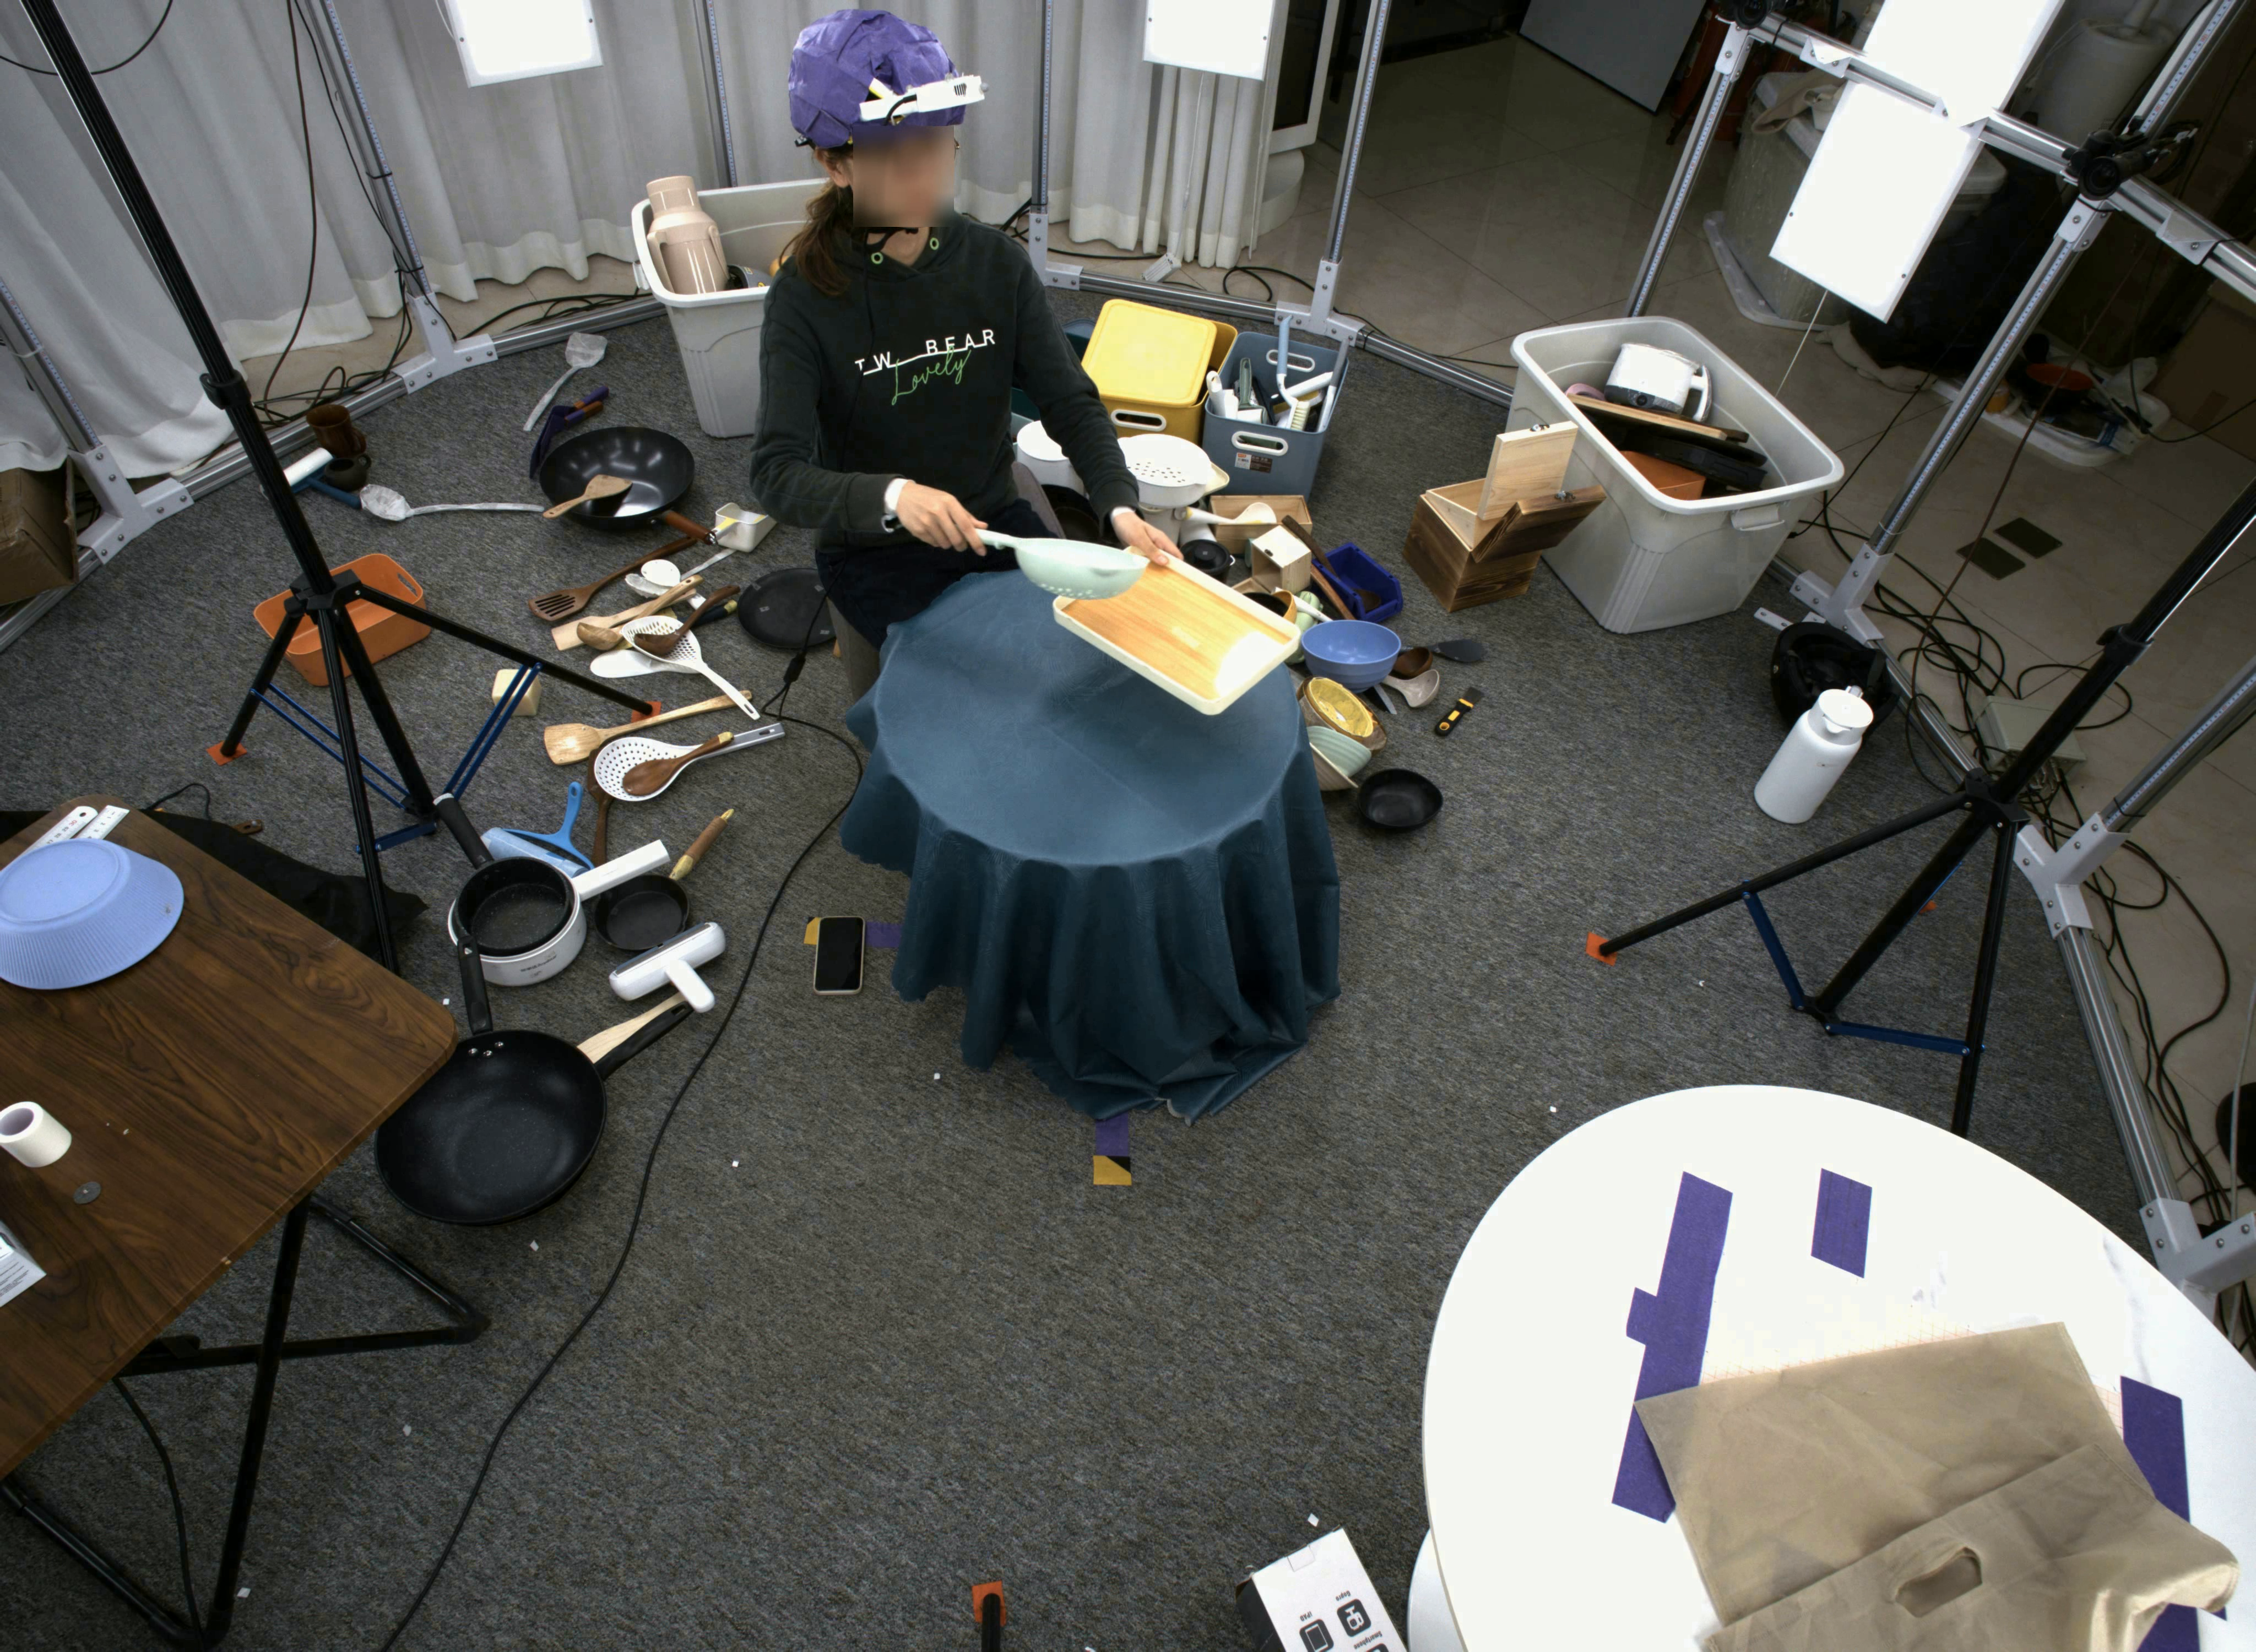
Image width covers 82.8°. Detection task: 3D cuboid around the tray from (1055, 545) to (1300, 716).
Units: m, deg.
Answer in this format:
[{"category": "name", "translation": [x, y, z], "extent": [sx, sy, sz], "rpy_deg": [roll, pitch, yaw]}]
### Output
[{"category": "tray", "translation": [0.065, -0.273, 1.754], "extent": [0.305, 0.027, 0.193], "rpy_deg": [35, 59, 28]}]

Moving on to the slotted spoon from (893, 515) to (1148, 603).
[{"category": "slotted spoon", "translation": [-0.151, -0.362, 1.683], "extent": [0.362, 0.074, 0.170], "rpy_deg": [25, 22, 18]}]
